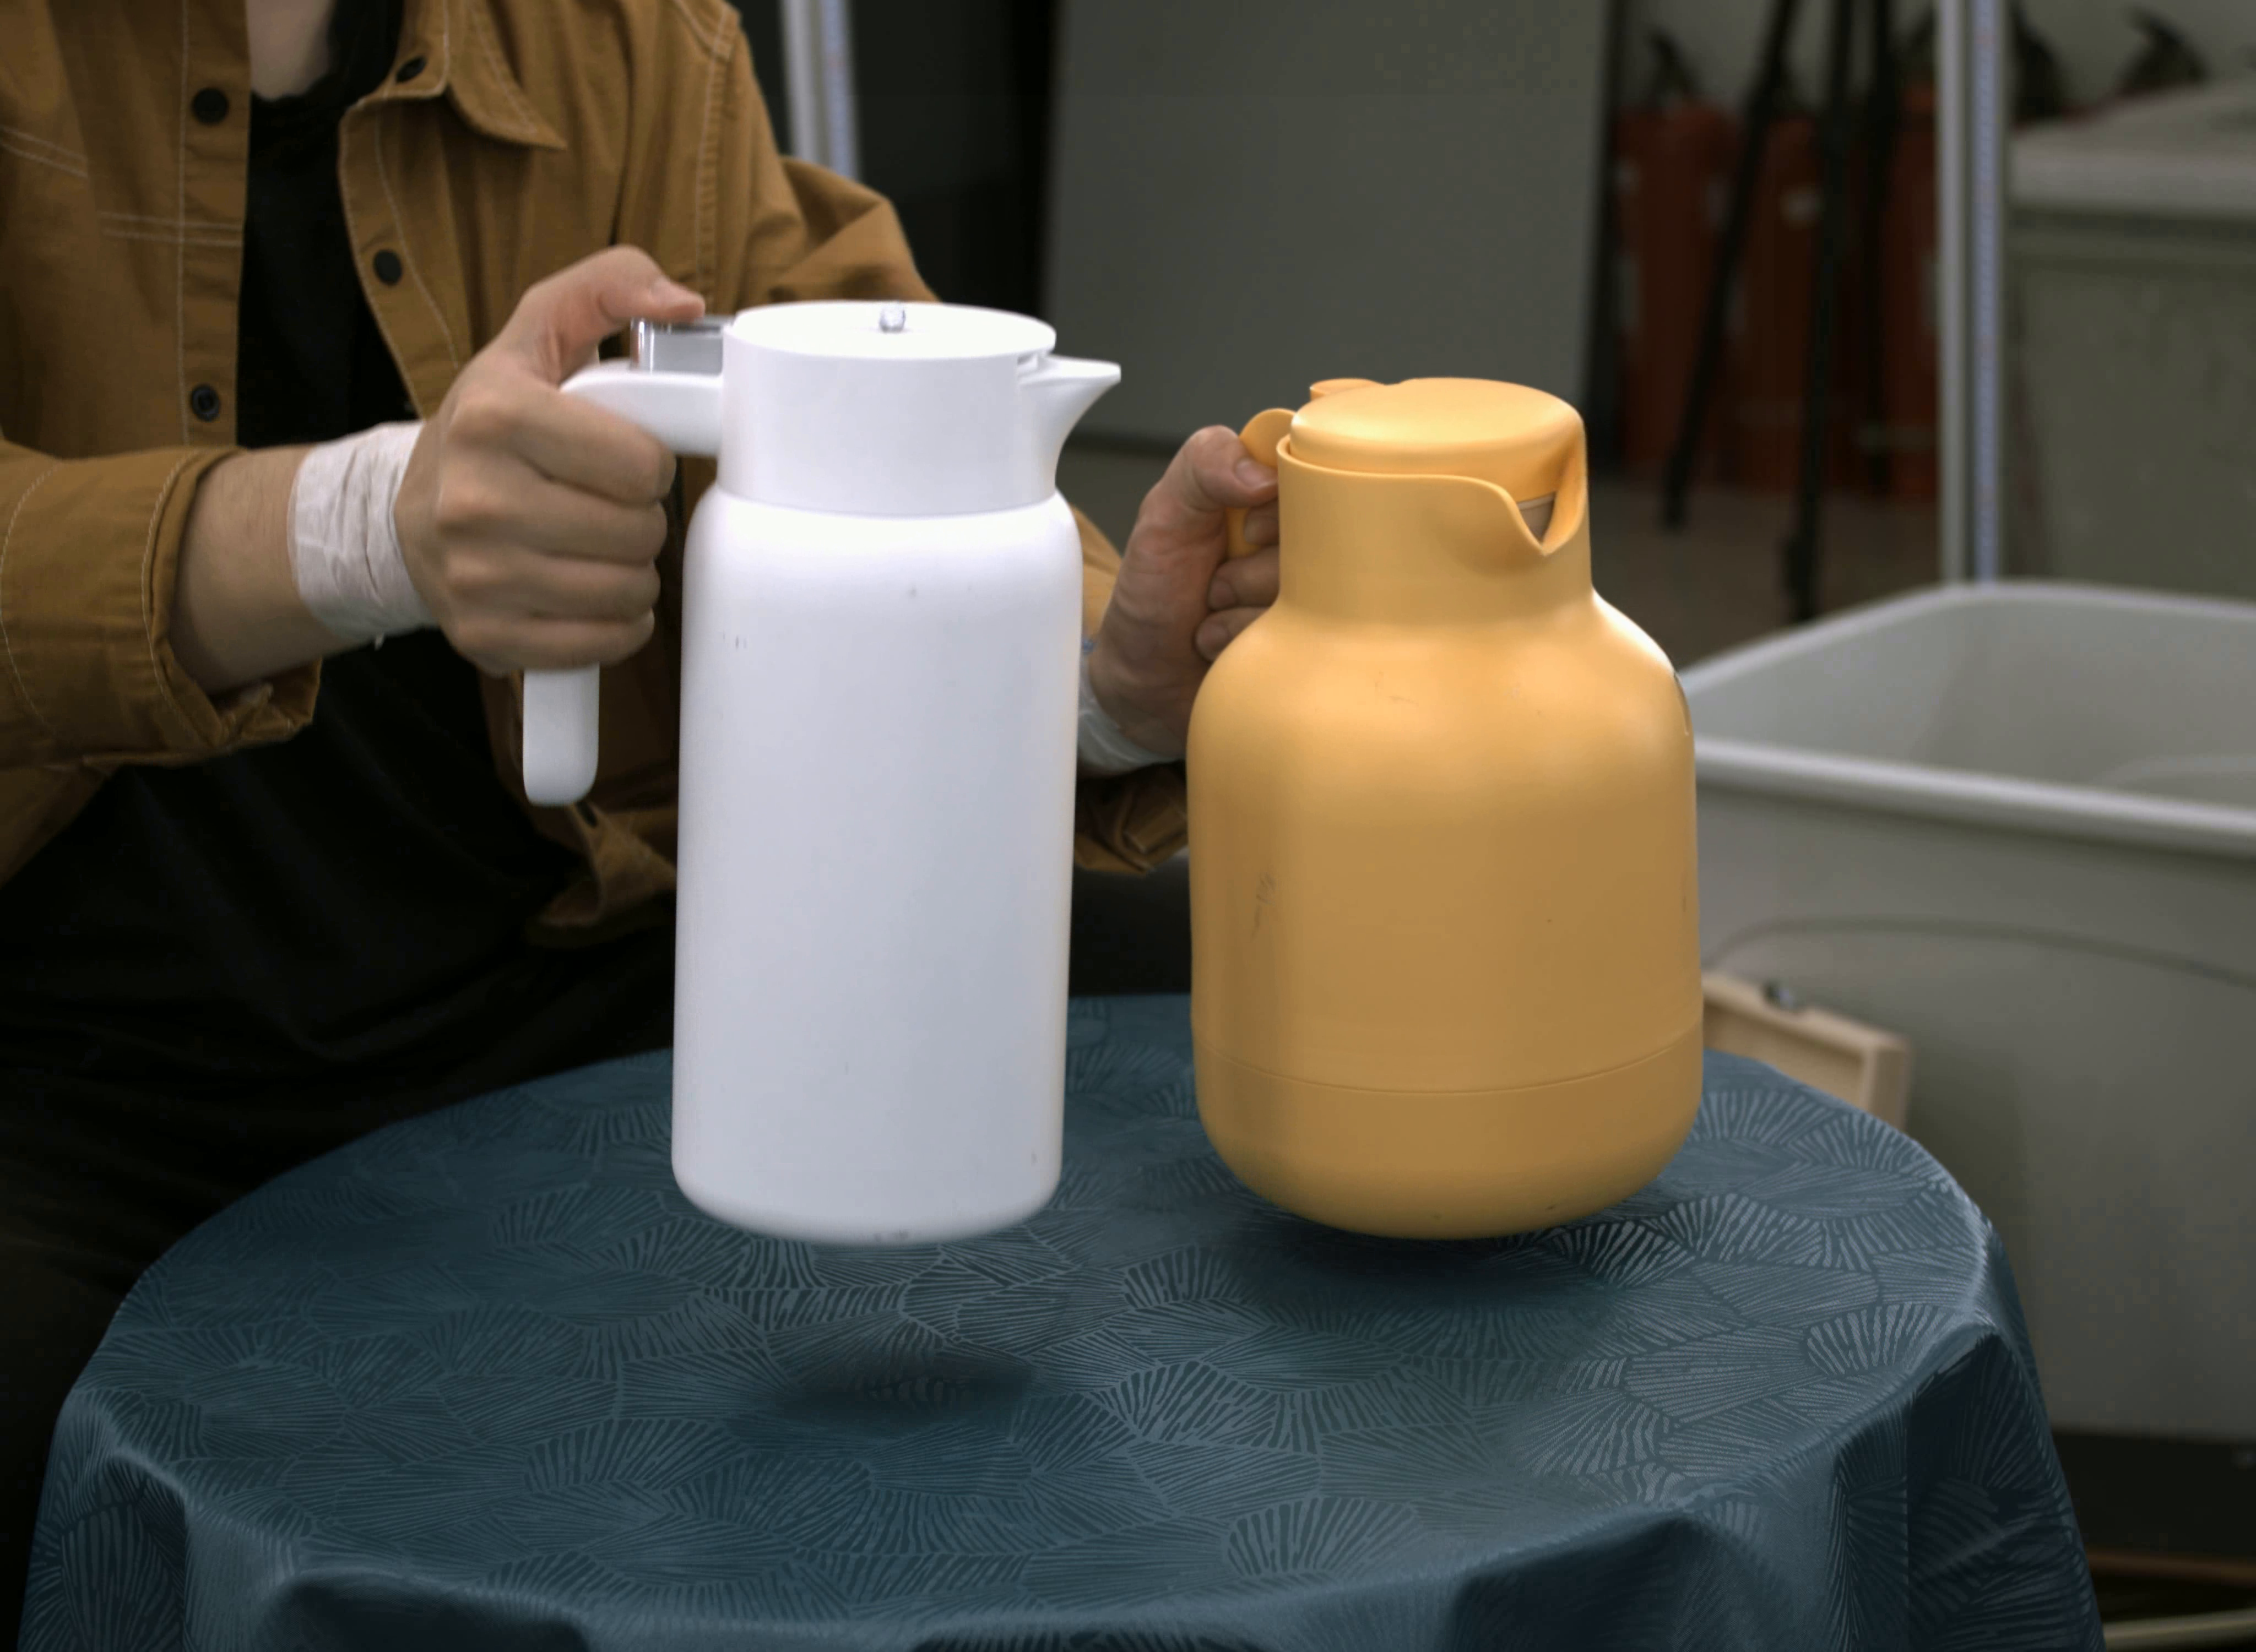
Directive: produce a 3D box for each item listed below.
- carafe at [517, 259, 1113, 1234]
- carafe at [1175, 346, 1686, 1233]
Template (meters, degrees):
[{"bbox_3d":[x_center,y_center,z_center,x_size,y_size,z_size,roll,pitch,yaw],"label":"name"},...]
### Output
[{"bbox_3d":[-0.093,-0.024,1.580,0.171,0.272,0.123,3,15,5],"label":"carafe"},{"bbox_3d":[0.088,-0.020,1.702,0.160,0.263,0.204,-7,17,-22],"label":"carafe"}]
